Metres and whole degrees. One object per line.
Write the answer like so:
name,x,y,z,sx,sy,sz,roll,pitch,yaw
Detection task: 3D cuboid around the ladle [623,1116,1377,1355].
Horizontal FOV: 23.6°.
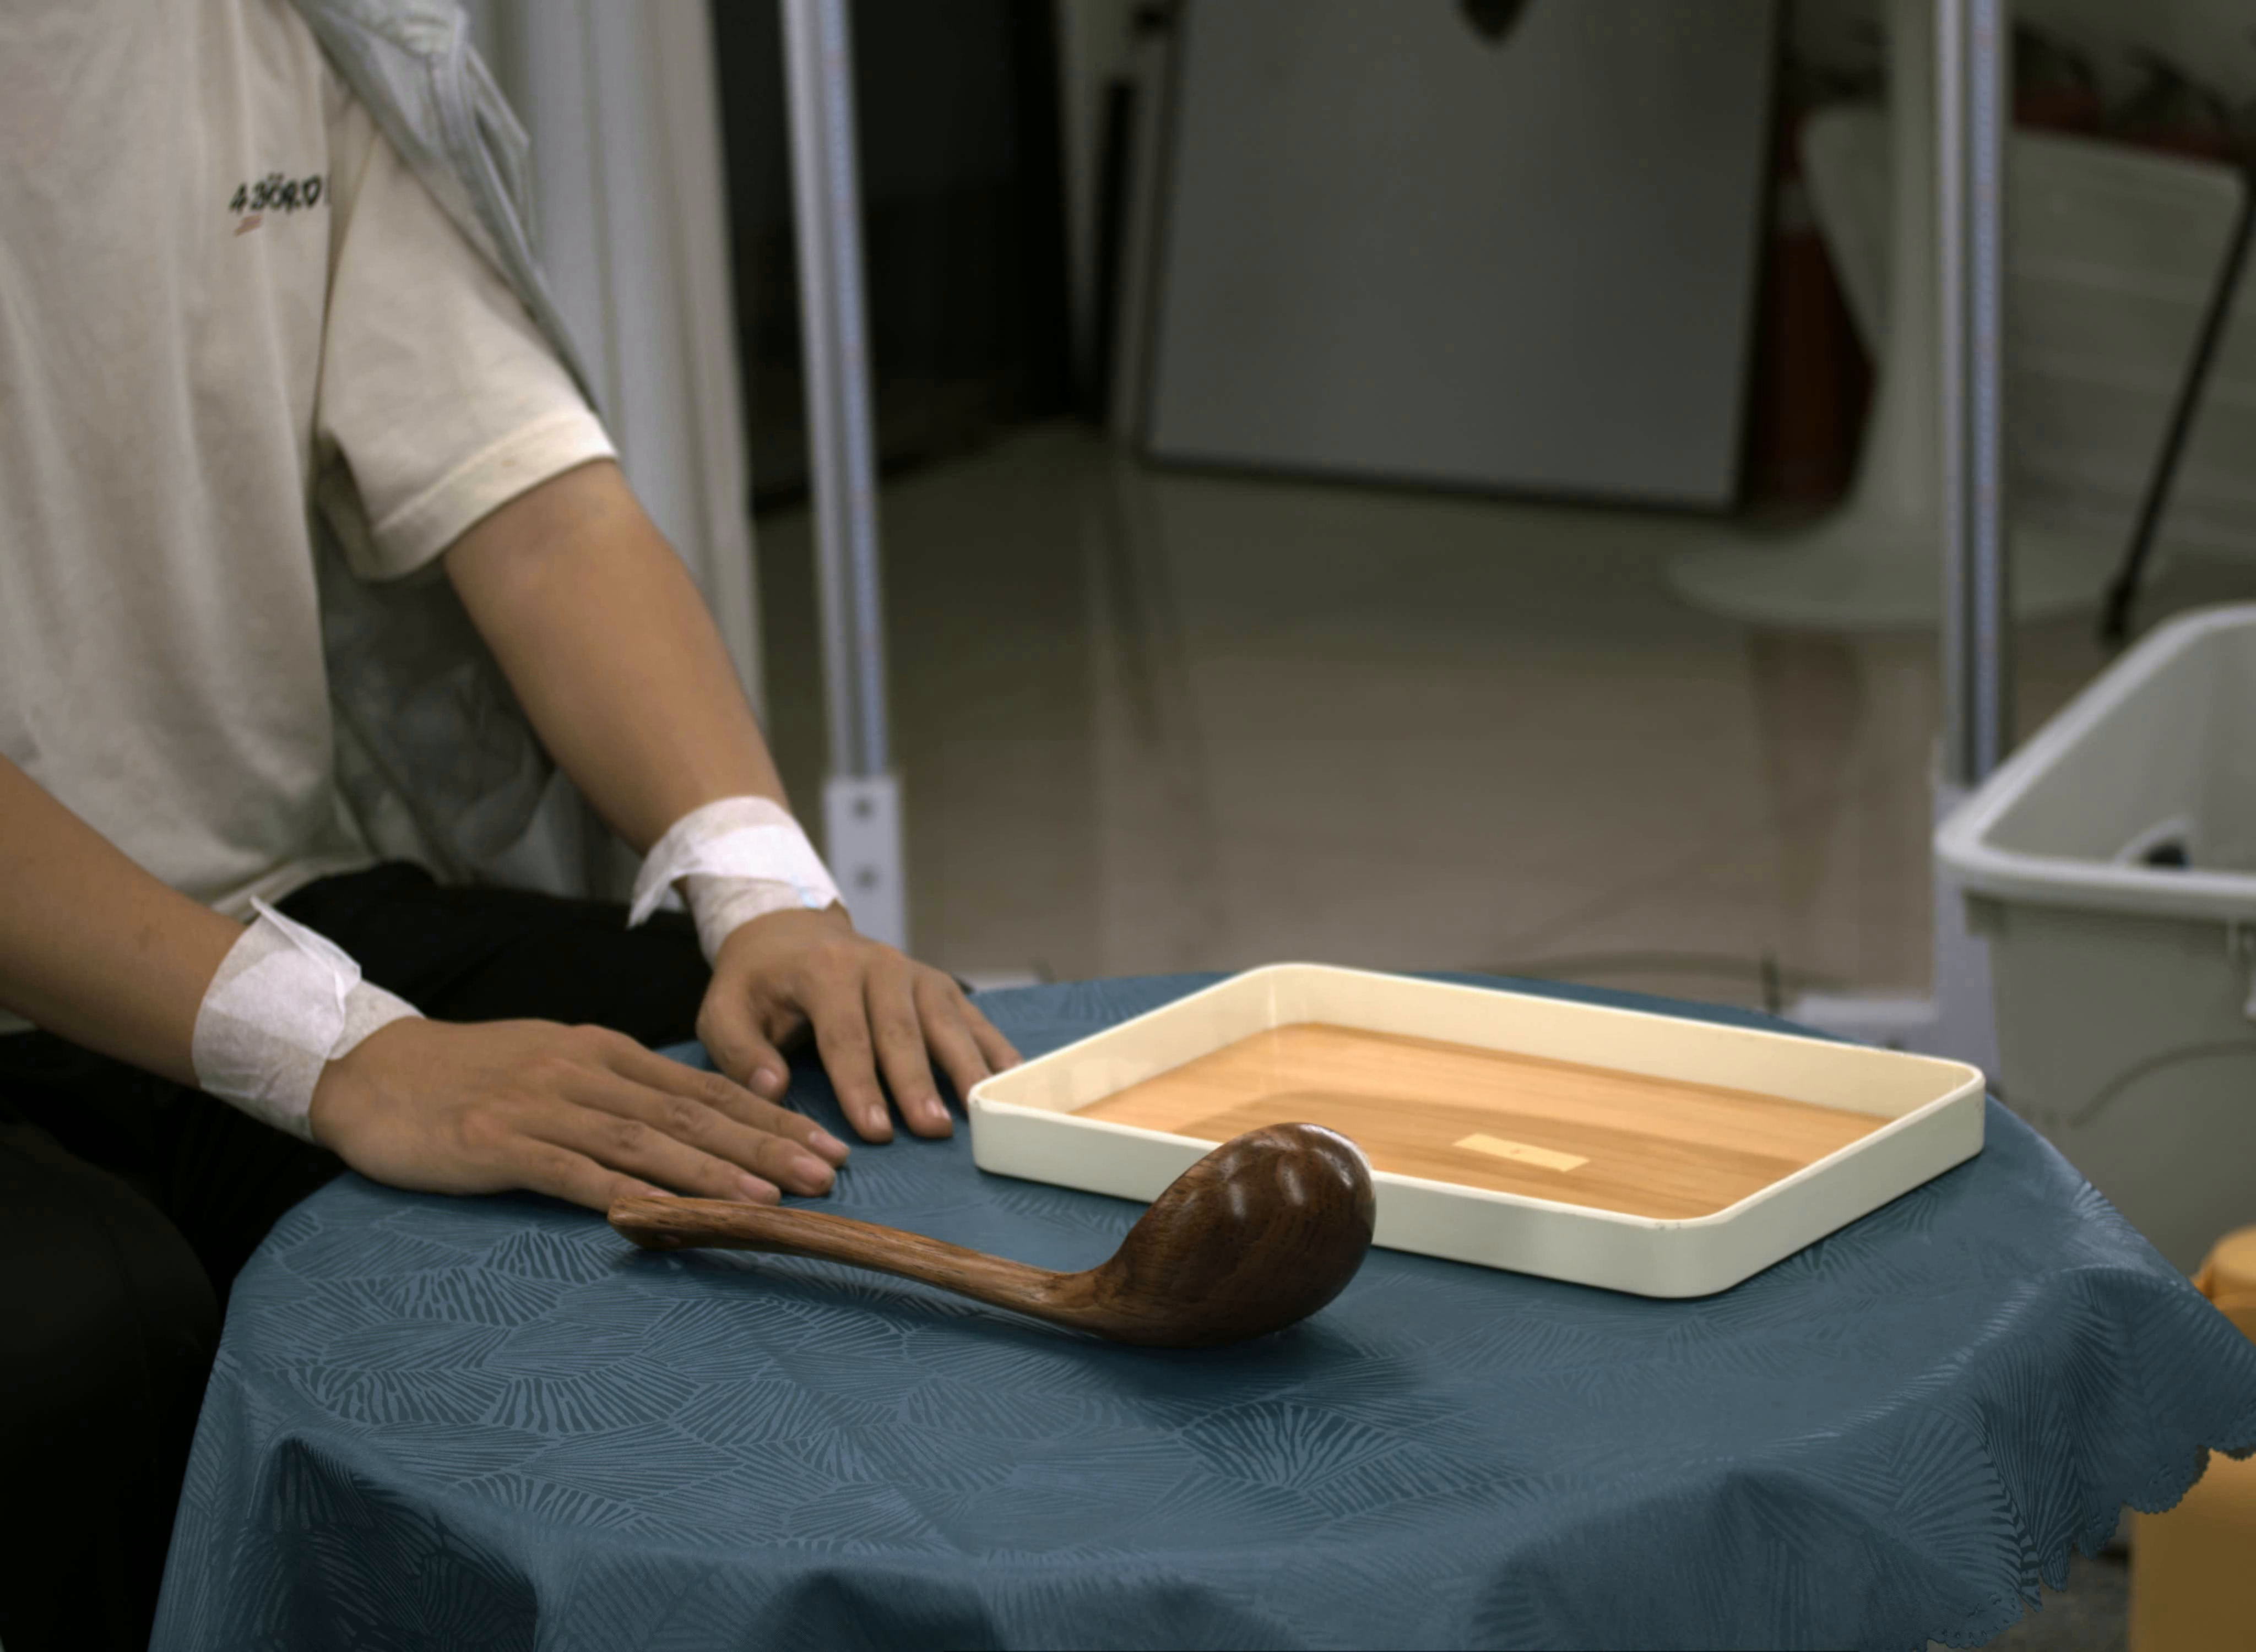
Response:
ladle,-0.045,0.114,1.671,0.276,0.077,0.081,6,-22,40

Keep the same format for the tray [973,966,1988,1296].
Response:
tray,0.115,0.097,1.781,0.302,0.028,0.188,7,18,39
